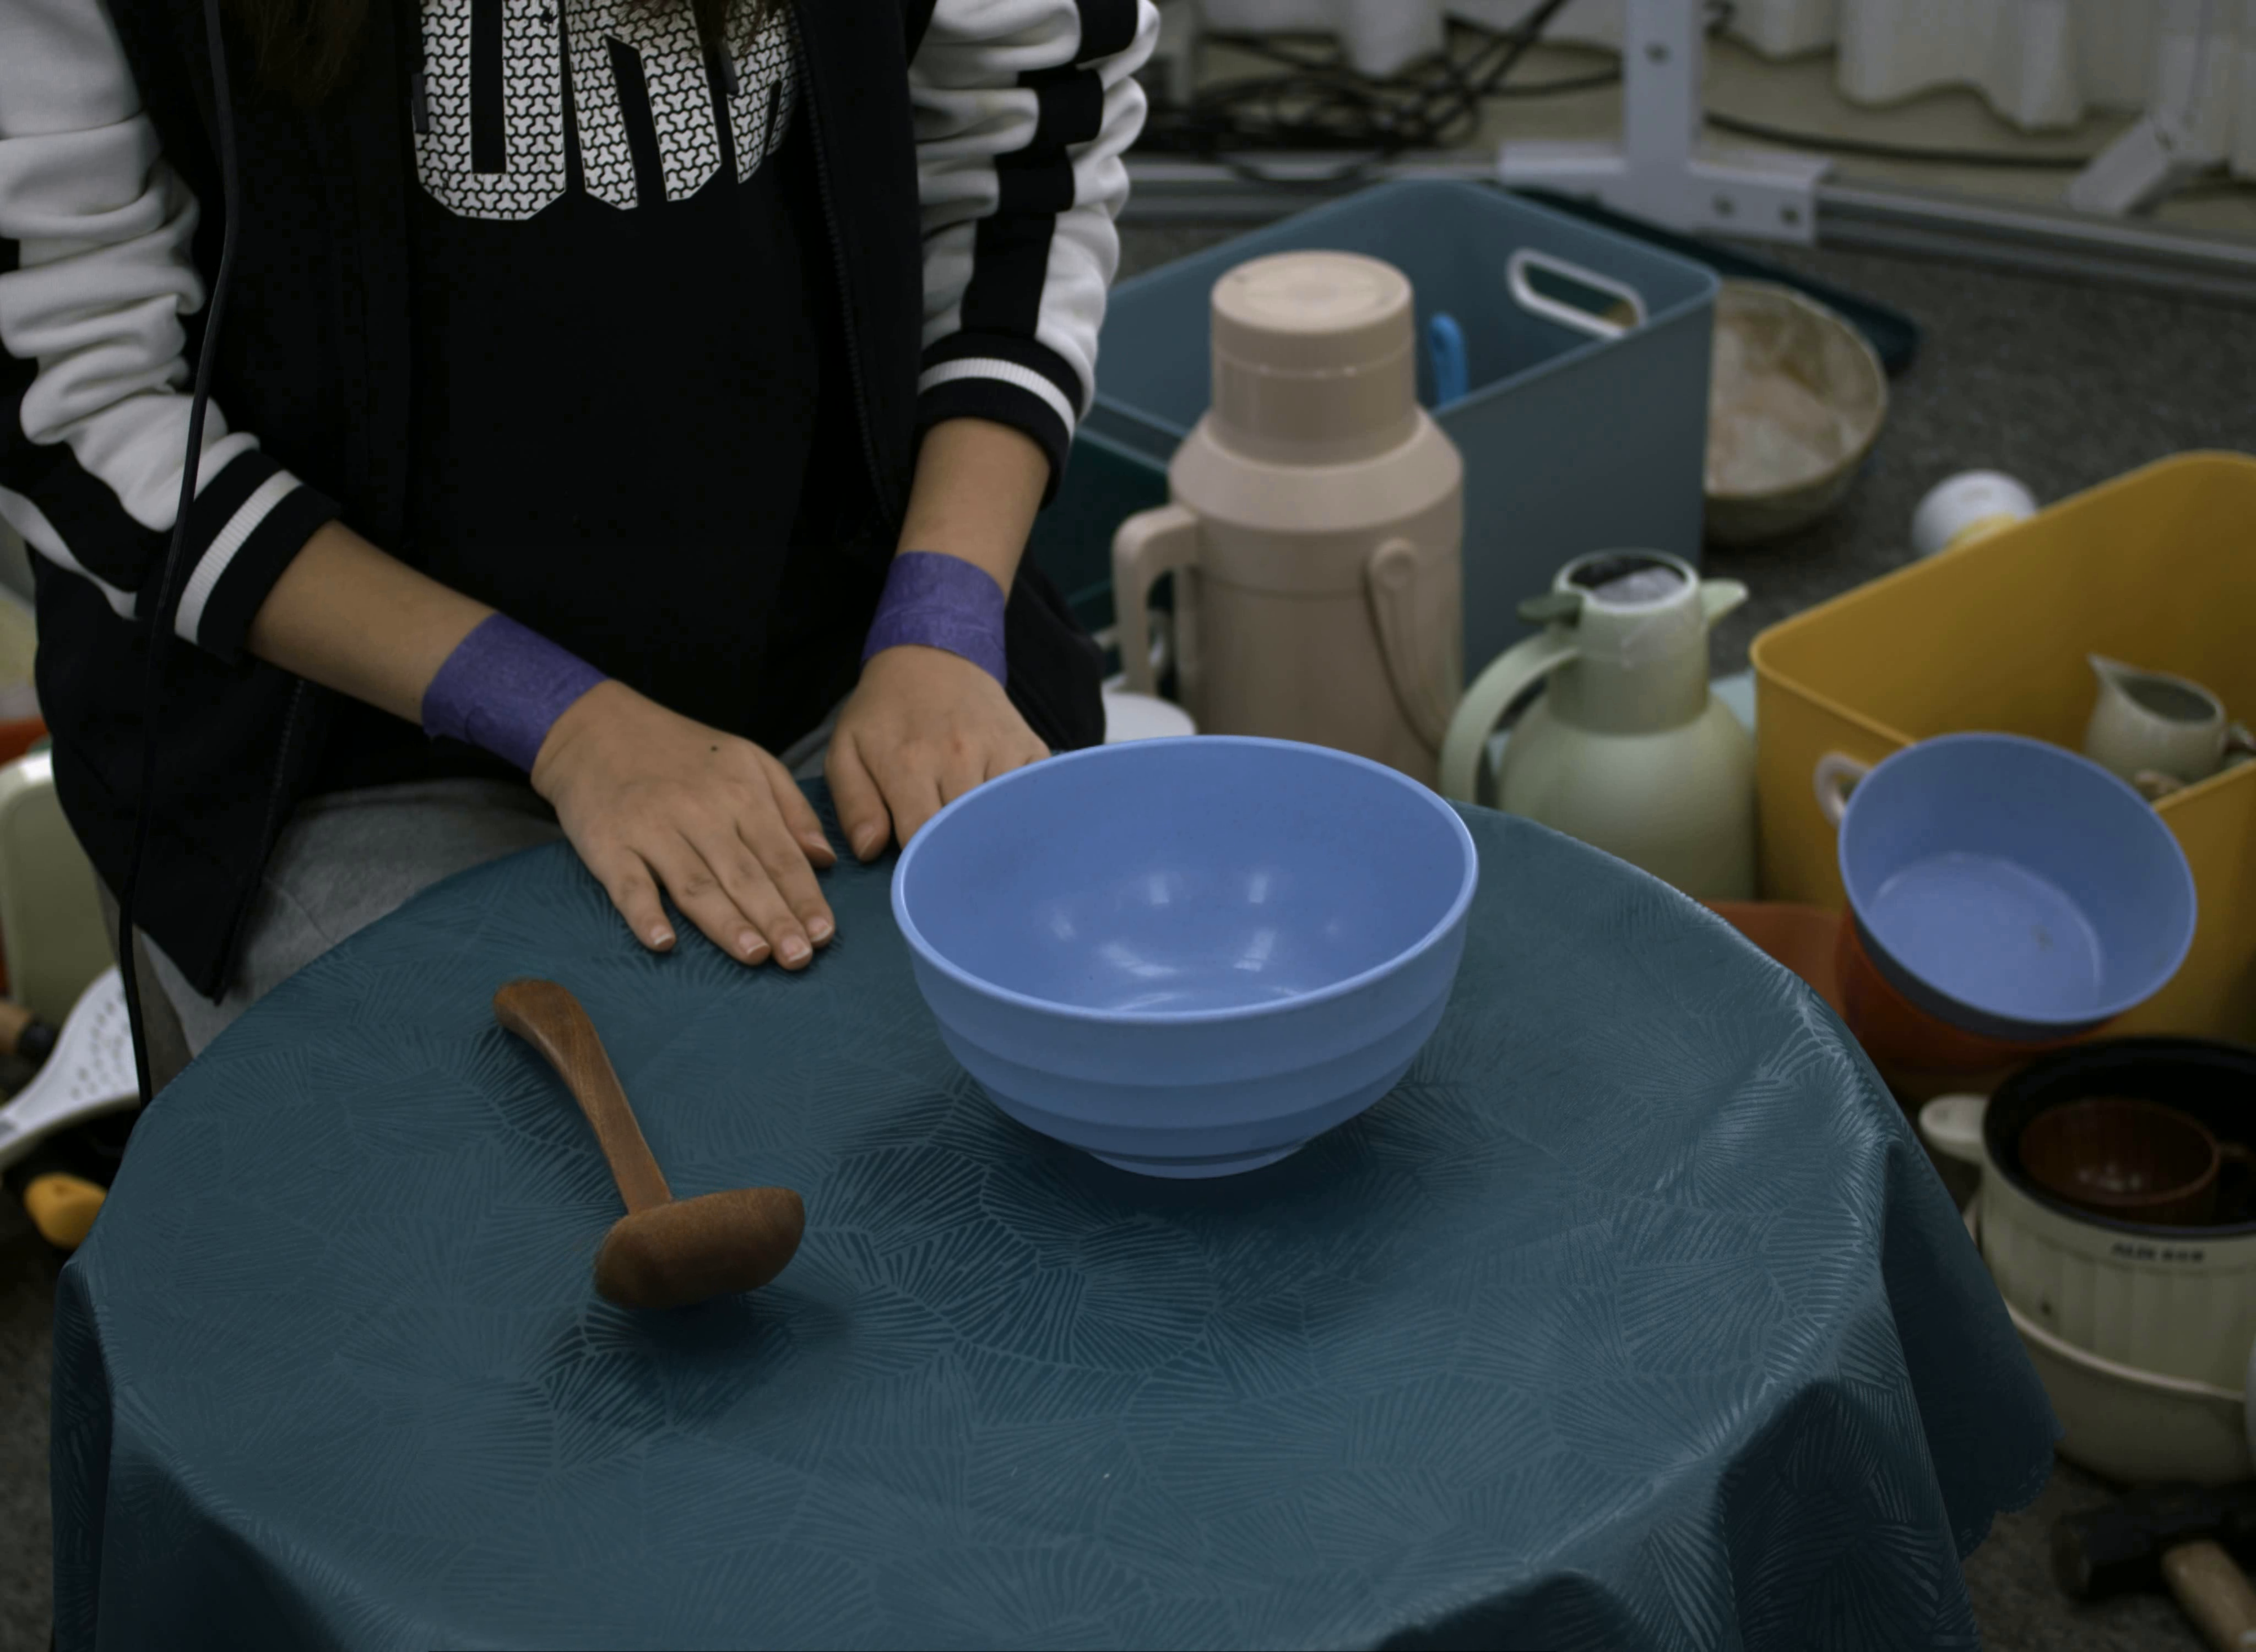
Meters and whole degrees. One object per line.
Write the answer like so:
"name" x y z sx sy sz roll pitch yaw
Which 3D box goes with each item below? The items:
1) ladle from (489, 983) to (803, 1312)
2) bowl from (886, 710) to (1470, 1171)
"ladle" -0.172 0.092 1.868 0.076 0.064 0.262 -6 27 -19
"bowl" 0.021 0.051 1.894 0.195 0.094 0.200 -5 32 4
